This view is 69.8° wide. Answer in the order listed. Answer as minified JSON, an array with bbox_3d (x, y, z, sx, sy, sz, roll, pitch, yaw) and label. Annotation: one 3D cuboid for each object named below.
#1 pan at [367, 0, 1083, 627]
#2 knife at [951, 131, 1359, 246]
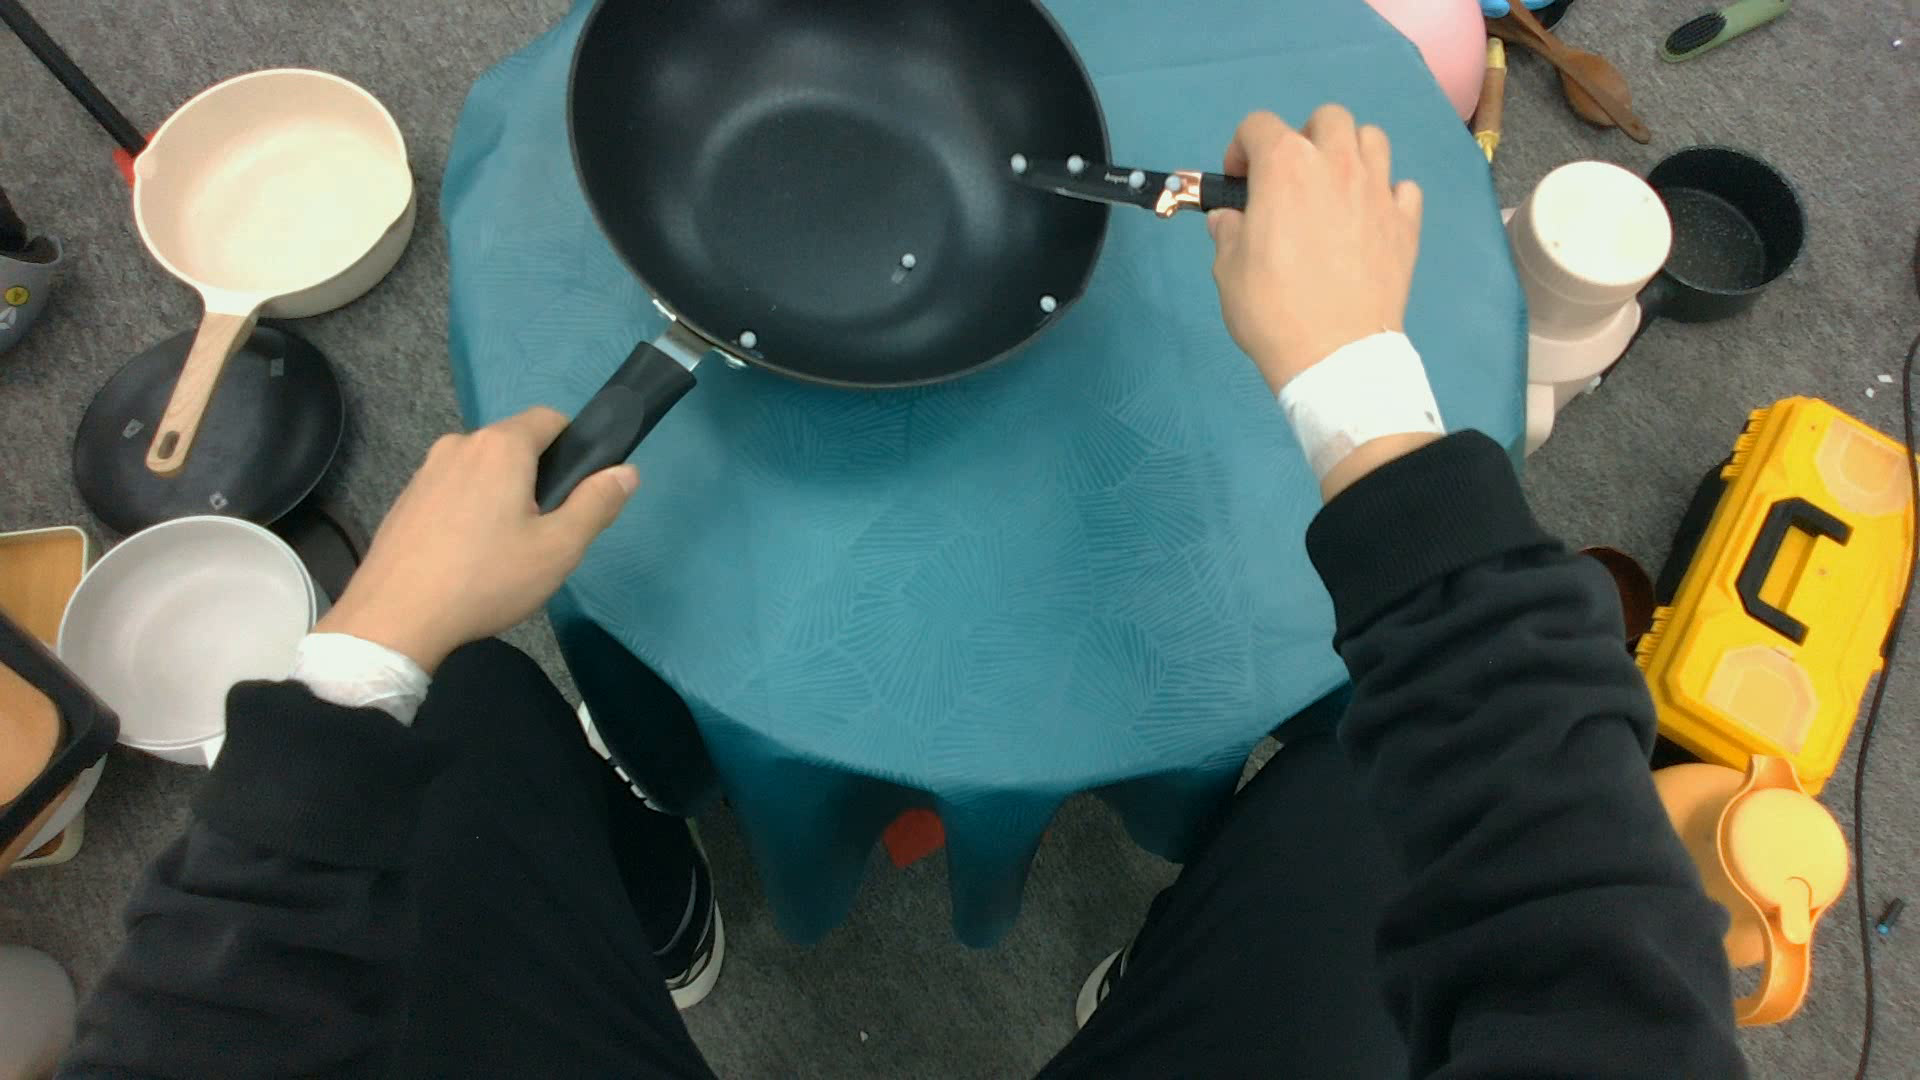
[{"bbox_3d":[-0.127,-0.134,0.707,0.288,0.086,0.465,35,69,-3],"label":"pan"},{"bbox_3d":[0.088,-0.180,0.678,0.225,0.017,0.026,24,79,29],"label":"knife"}]
